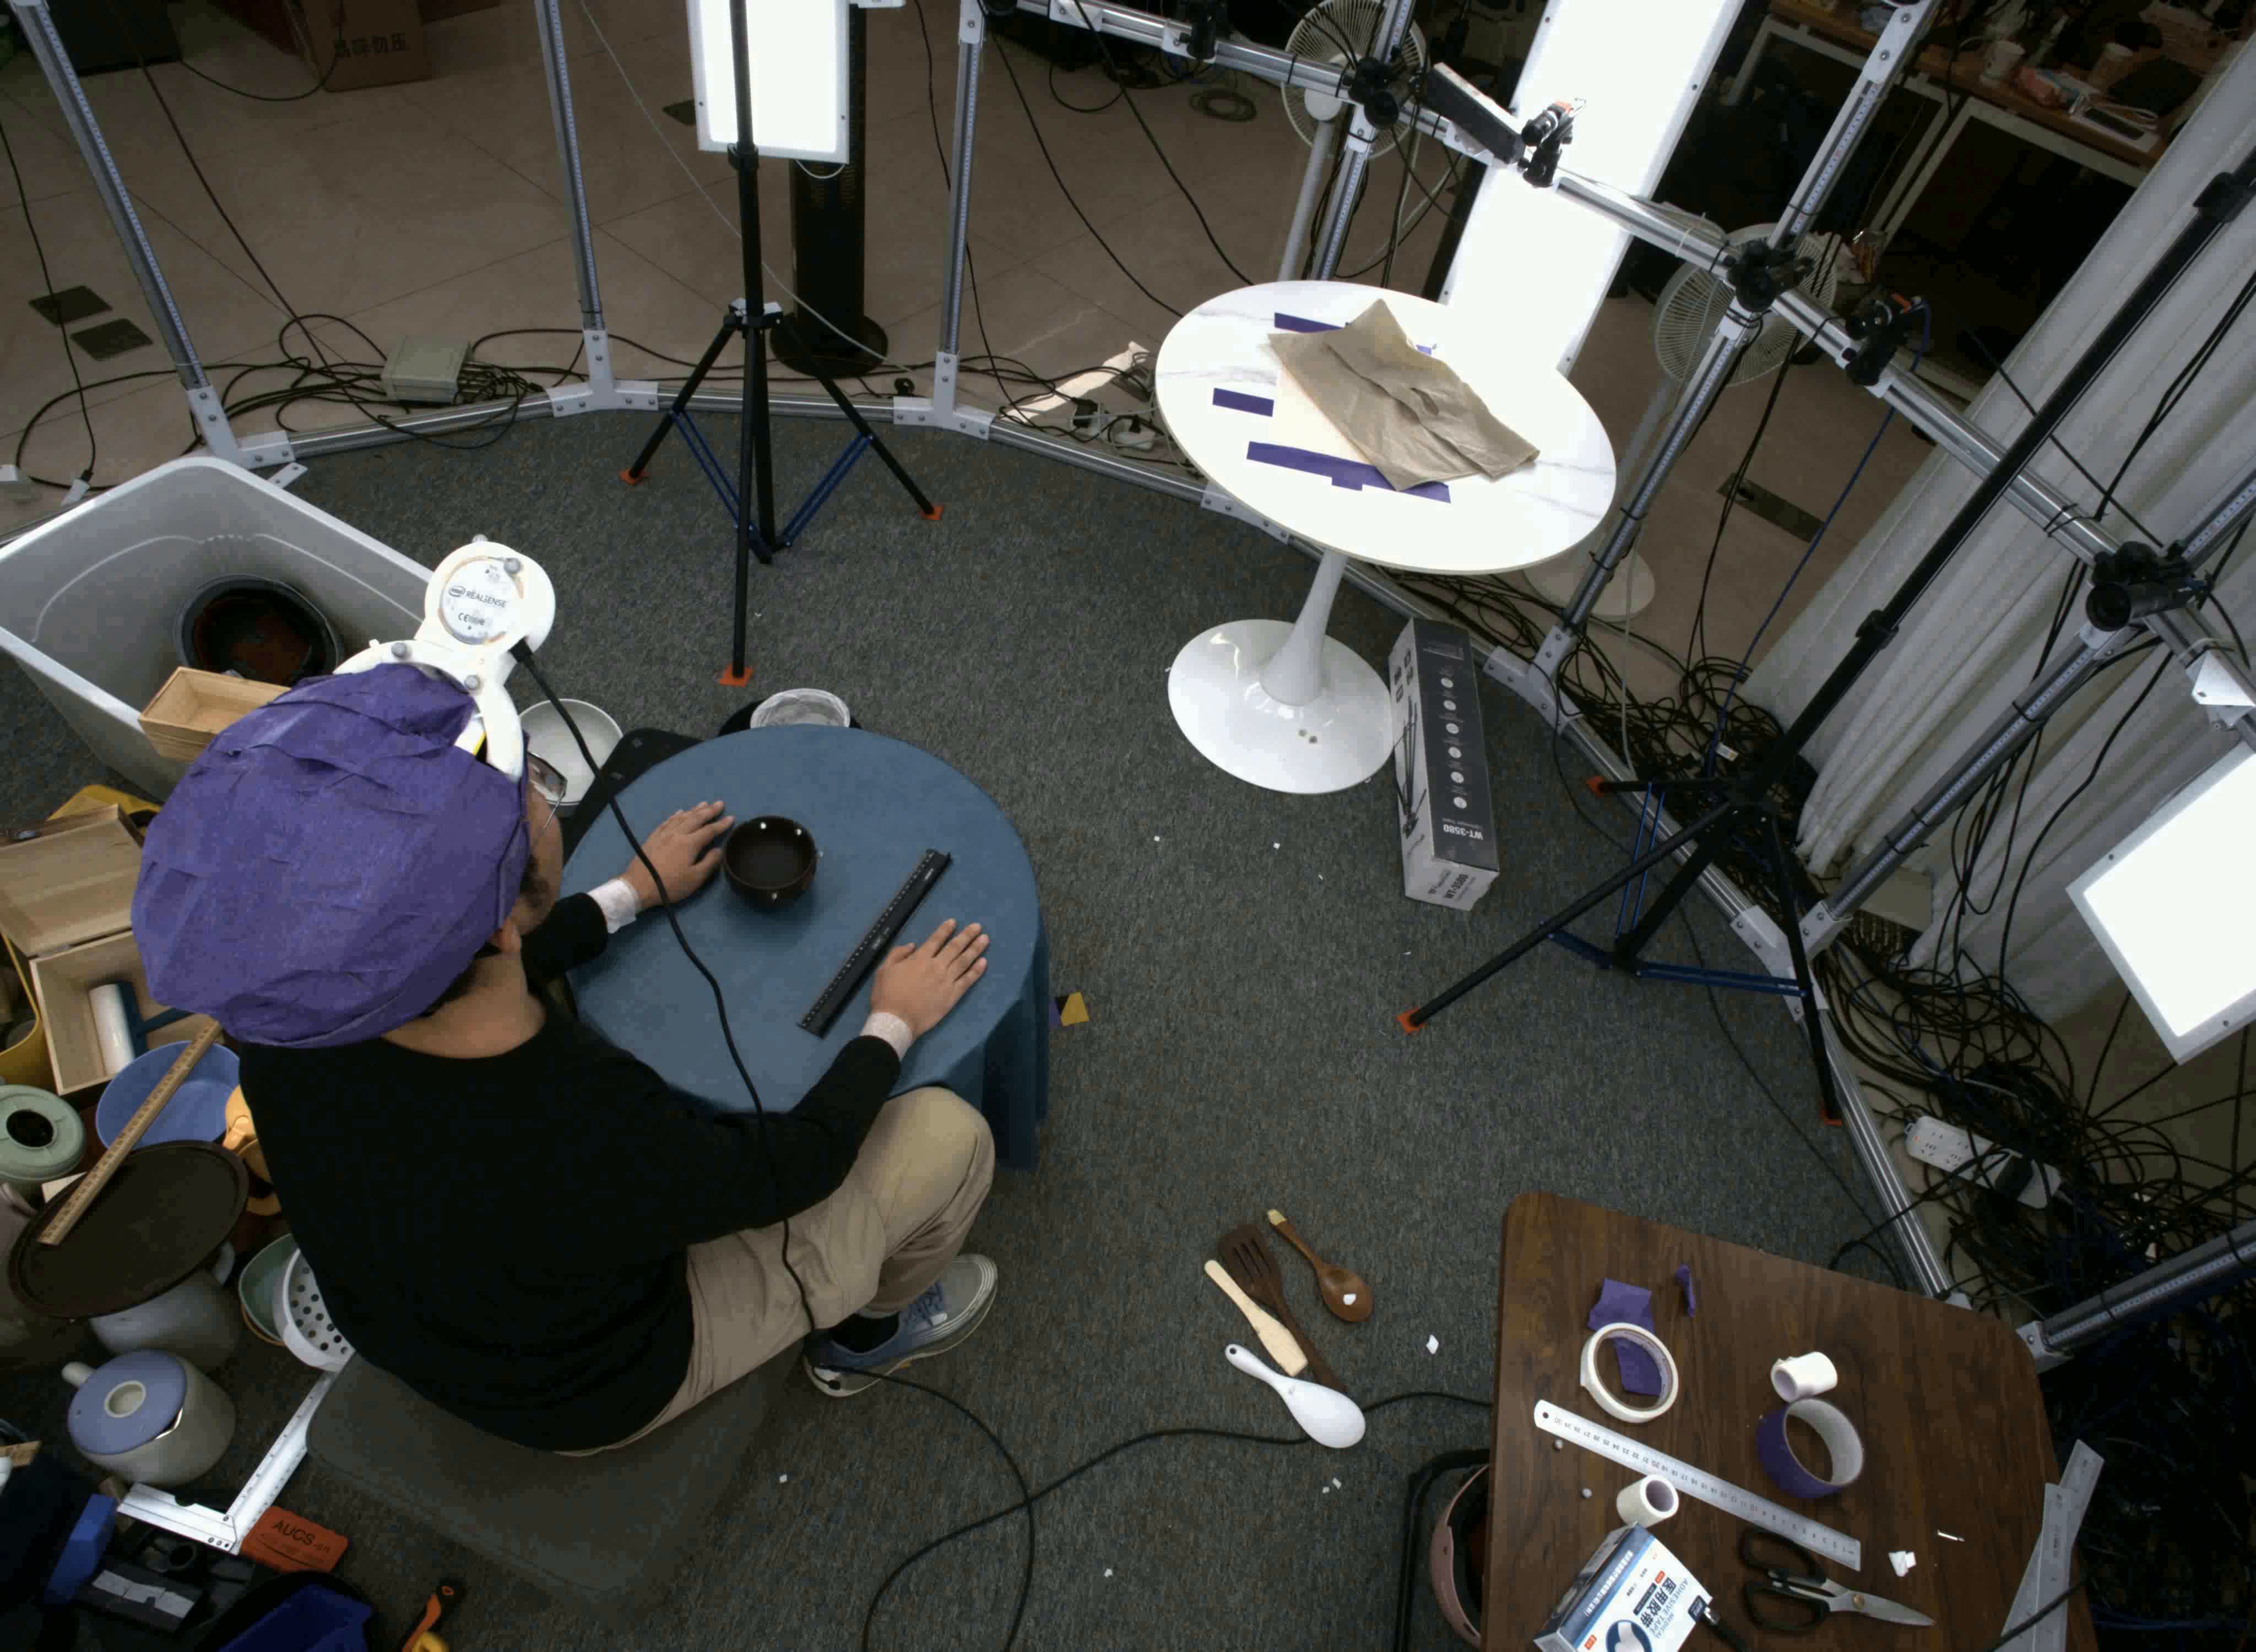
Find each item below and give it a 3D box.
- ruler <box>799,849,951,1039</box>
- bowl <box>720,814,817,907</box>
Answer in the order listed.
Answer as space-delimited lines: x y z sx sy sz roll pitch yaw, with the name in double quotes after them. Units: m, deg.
-0.314 0.135 1.637 0.038 0.017 0.311 24 52 10 "ruler"
-0.451 0.050 1.627 0.118 0.071 0.116 8 51 -8 "bowl"
